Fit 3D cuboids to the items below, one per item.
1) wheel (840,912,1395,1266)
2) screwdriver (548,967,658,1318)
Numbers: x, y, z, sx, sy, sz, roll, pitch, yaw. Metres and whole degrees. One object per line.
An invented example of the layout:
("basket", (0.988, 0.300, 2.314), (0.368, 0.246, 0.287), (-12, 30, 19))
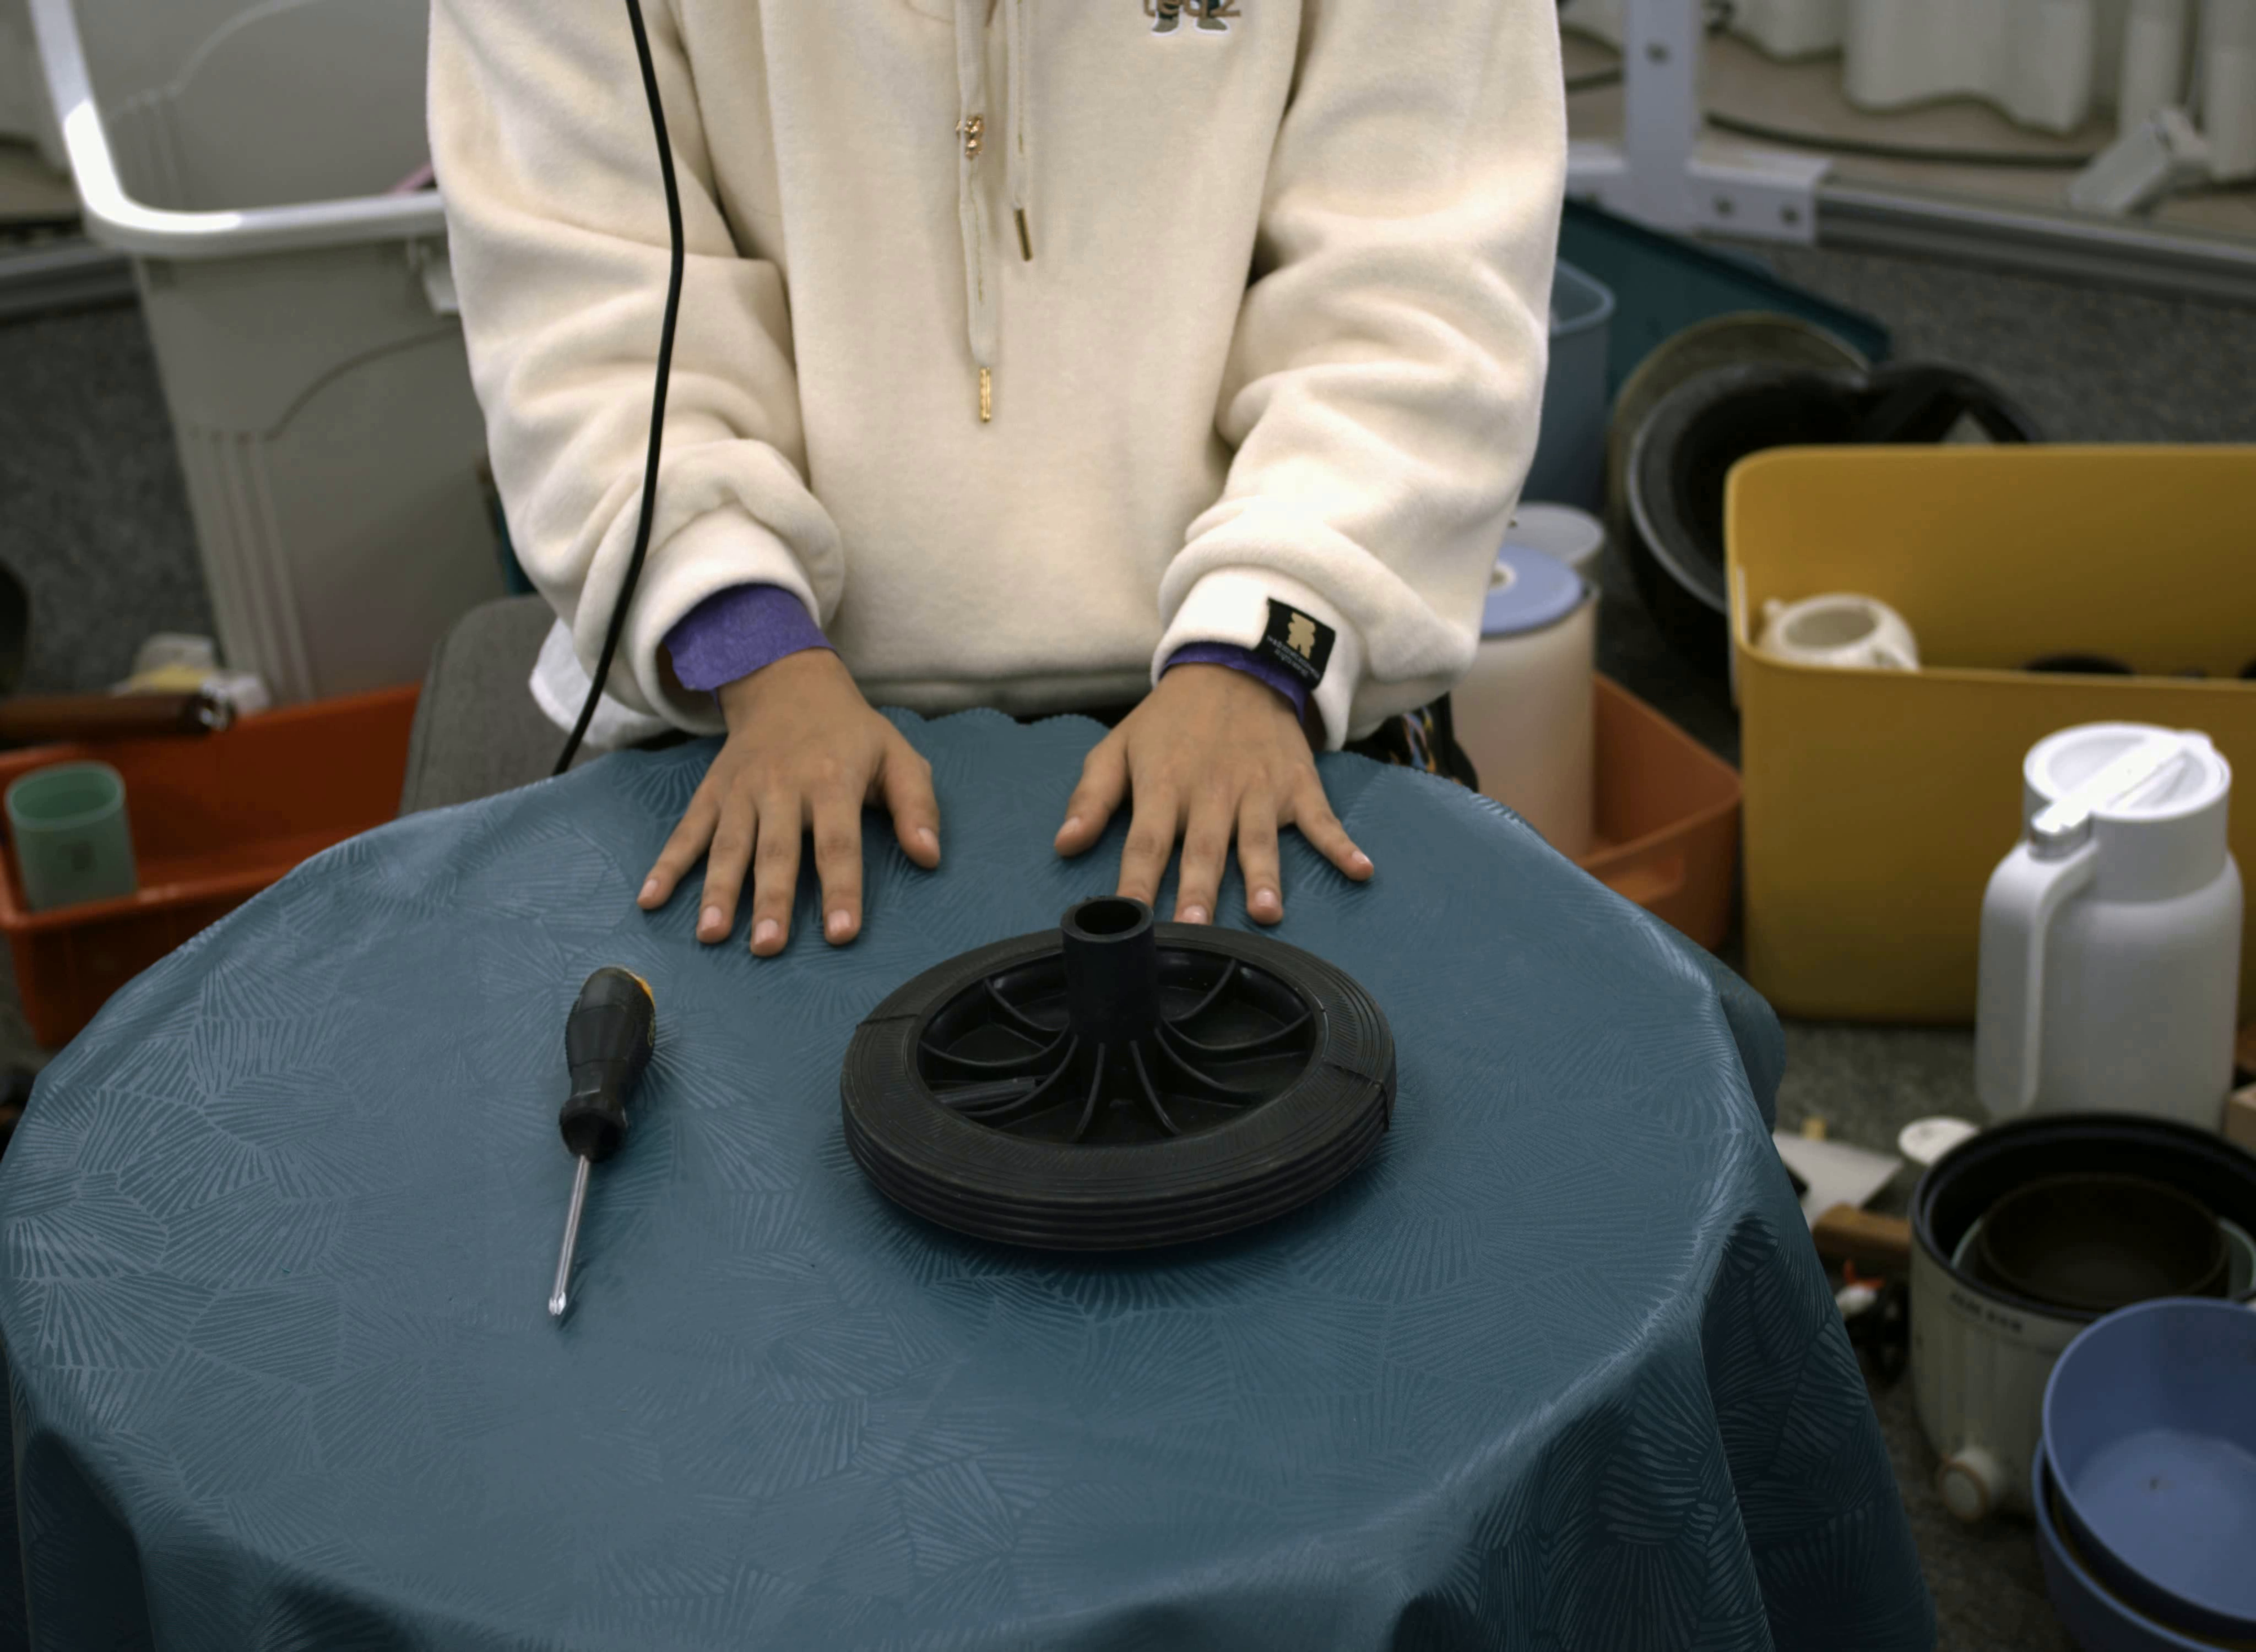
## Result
("wheel", (-0.006, 0.071, 1.880), (0.191, 0.078, 0.187), (-23, 33, -30))
("screwdriver", (-0.177, 0.106, 1.883), (0.031, 0.031, 0.199), (-2, 29, 1))
